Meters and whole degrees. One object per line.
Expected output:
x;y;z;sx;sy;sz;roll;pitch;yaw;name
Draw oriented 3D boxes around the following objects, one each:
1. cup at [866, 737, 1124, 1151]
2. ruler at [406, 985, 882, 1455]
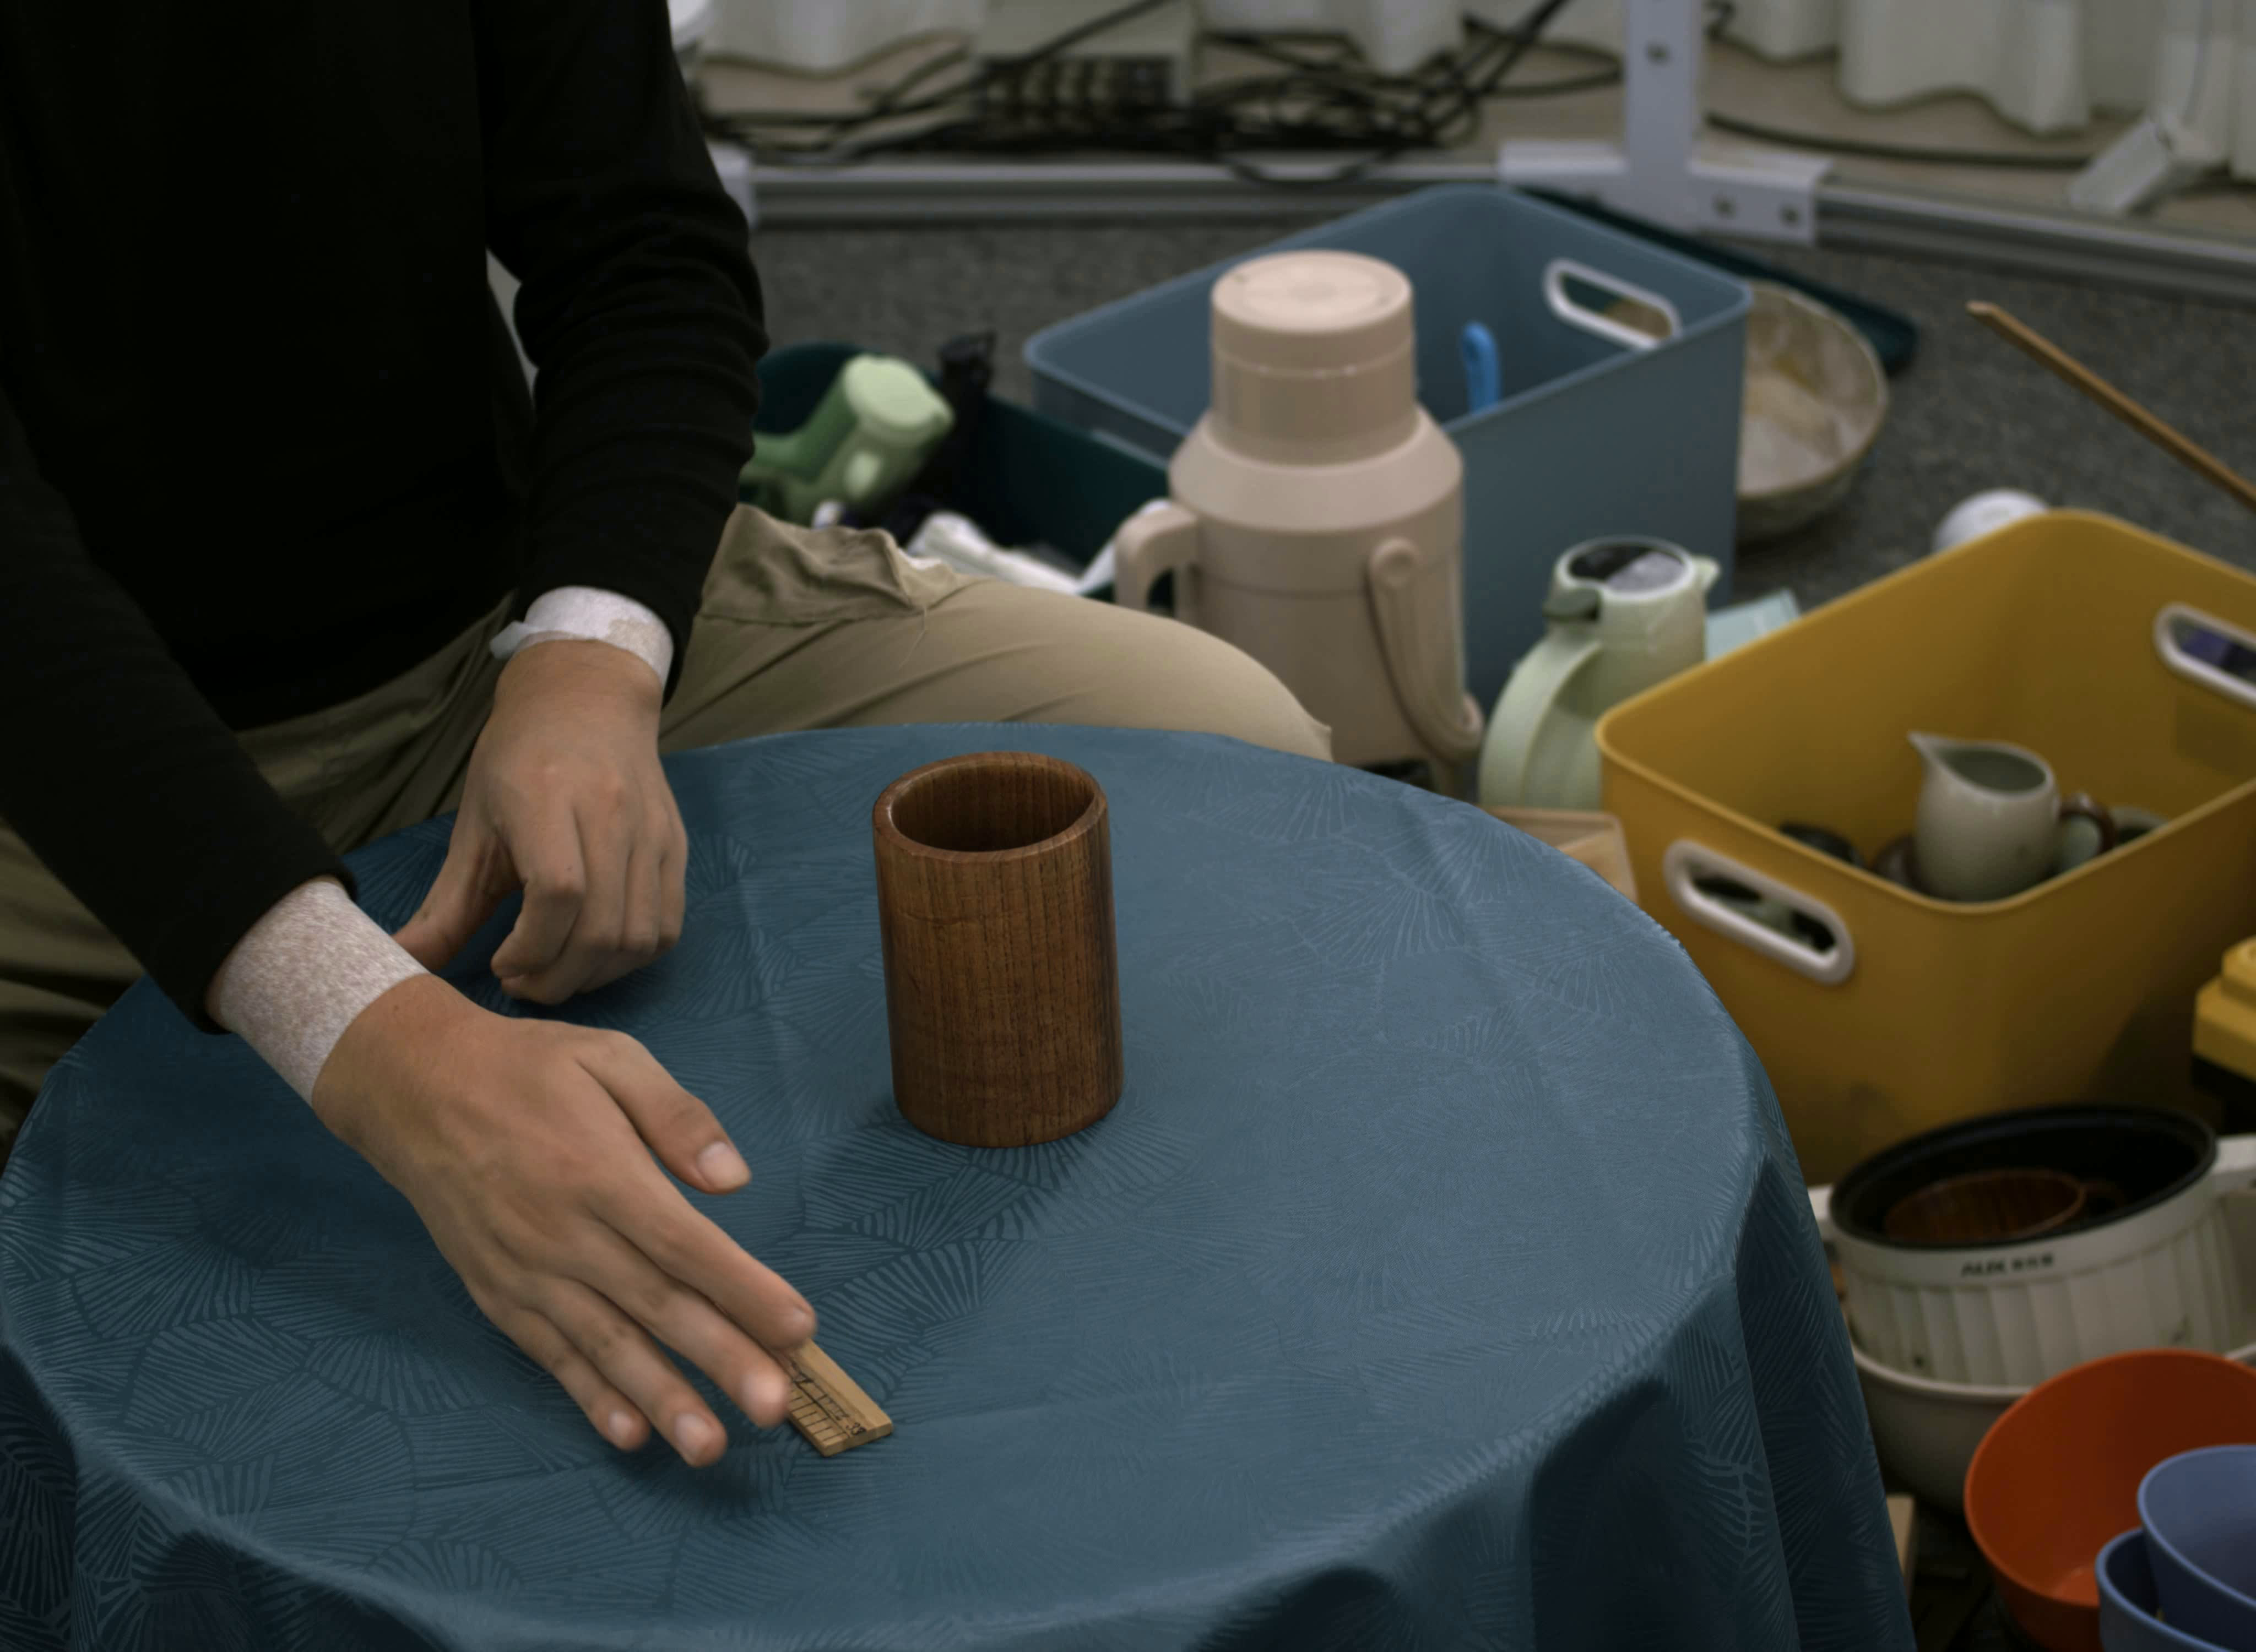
-0.044;0.040;1.898;0.087;0.117;0.089;-2;26;1;cup
-0.167;0.124;1.864;0.027;0.022;0.333;-10;27;-27;ruler
